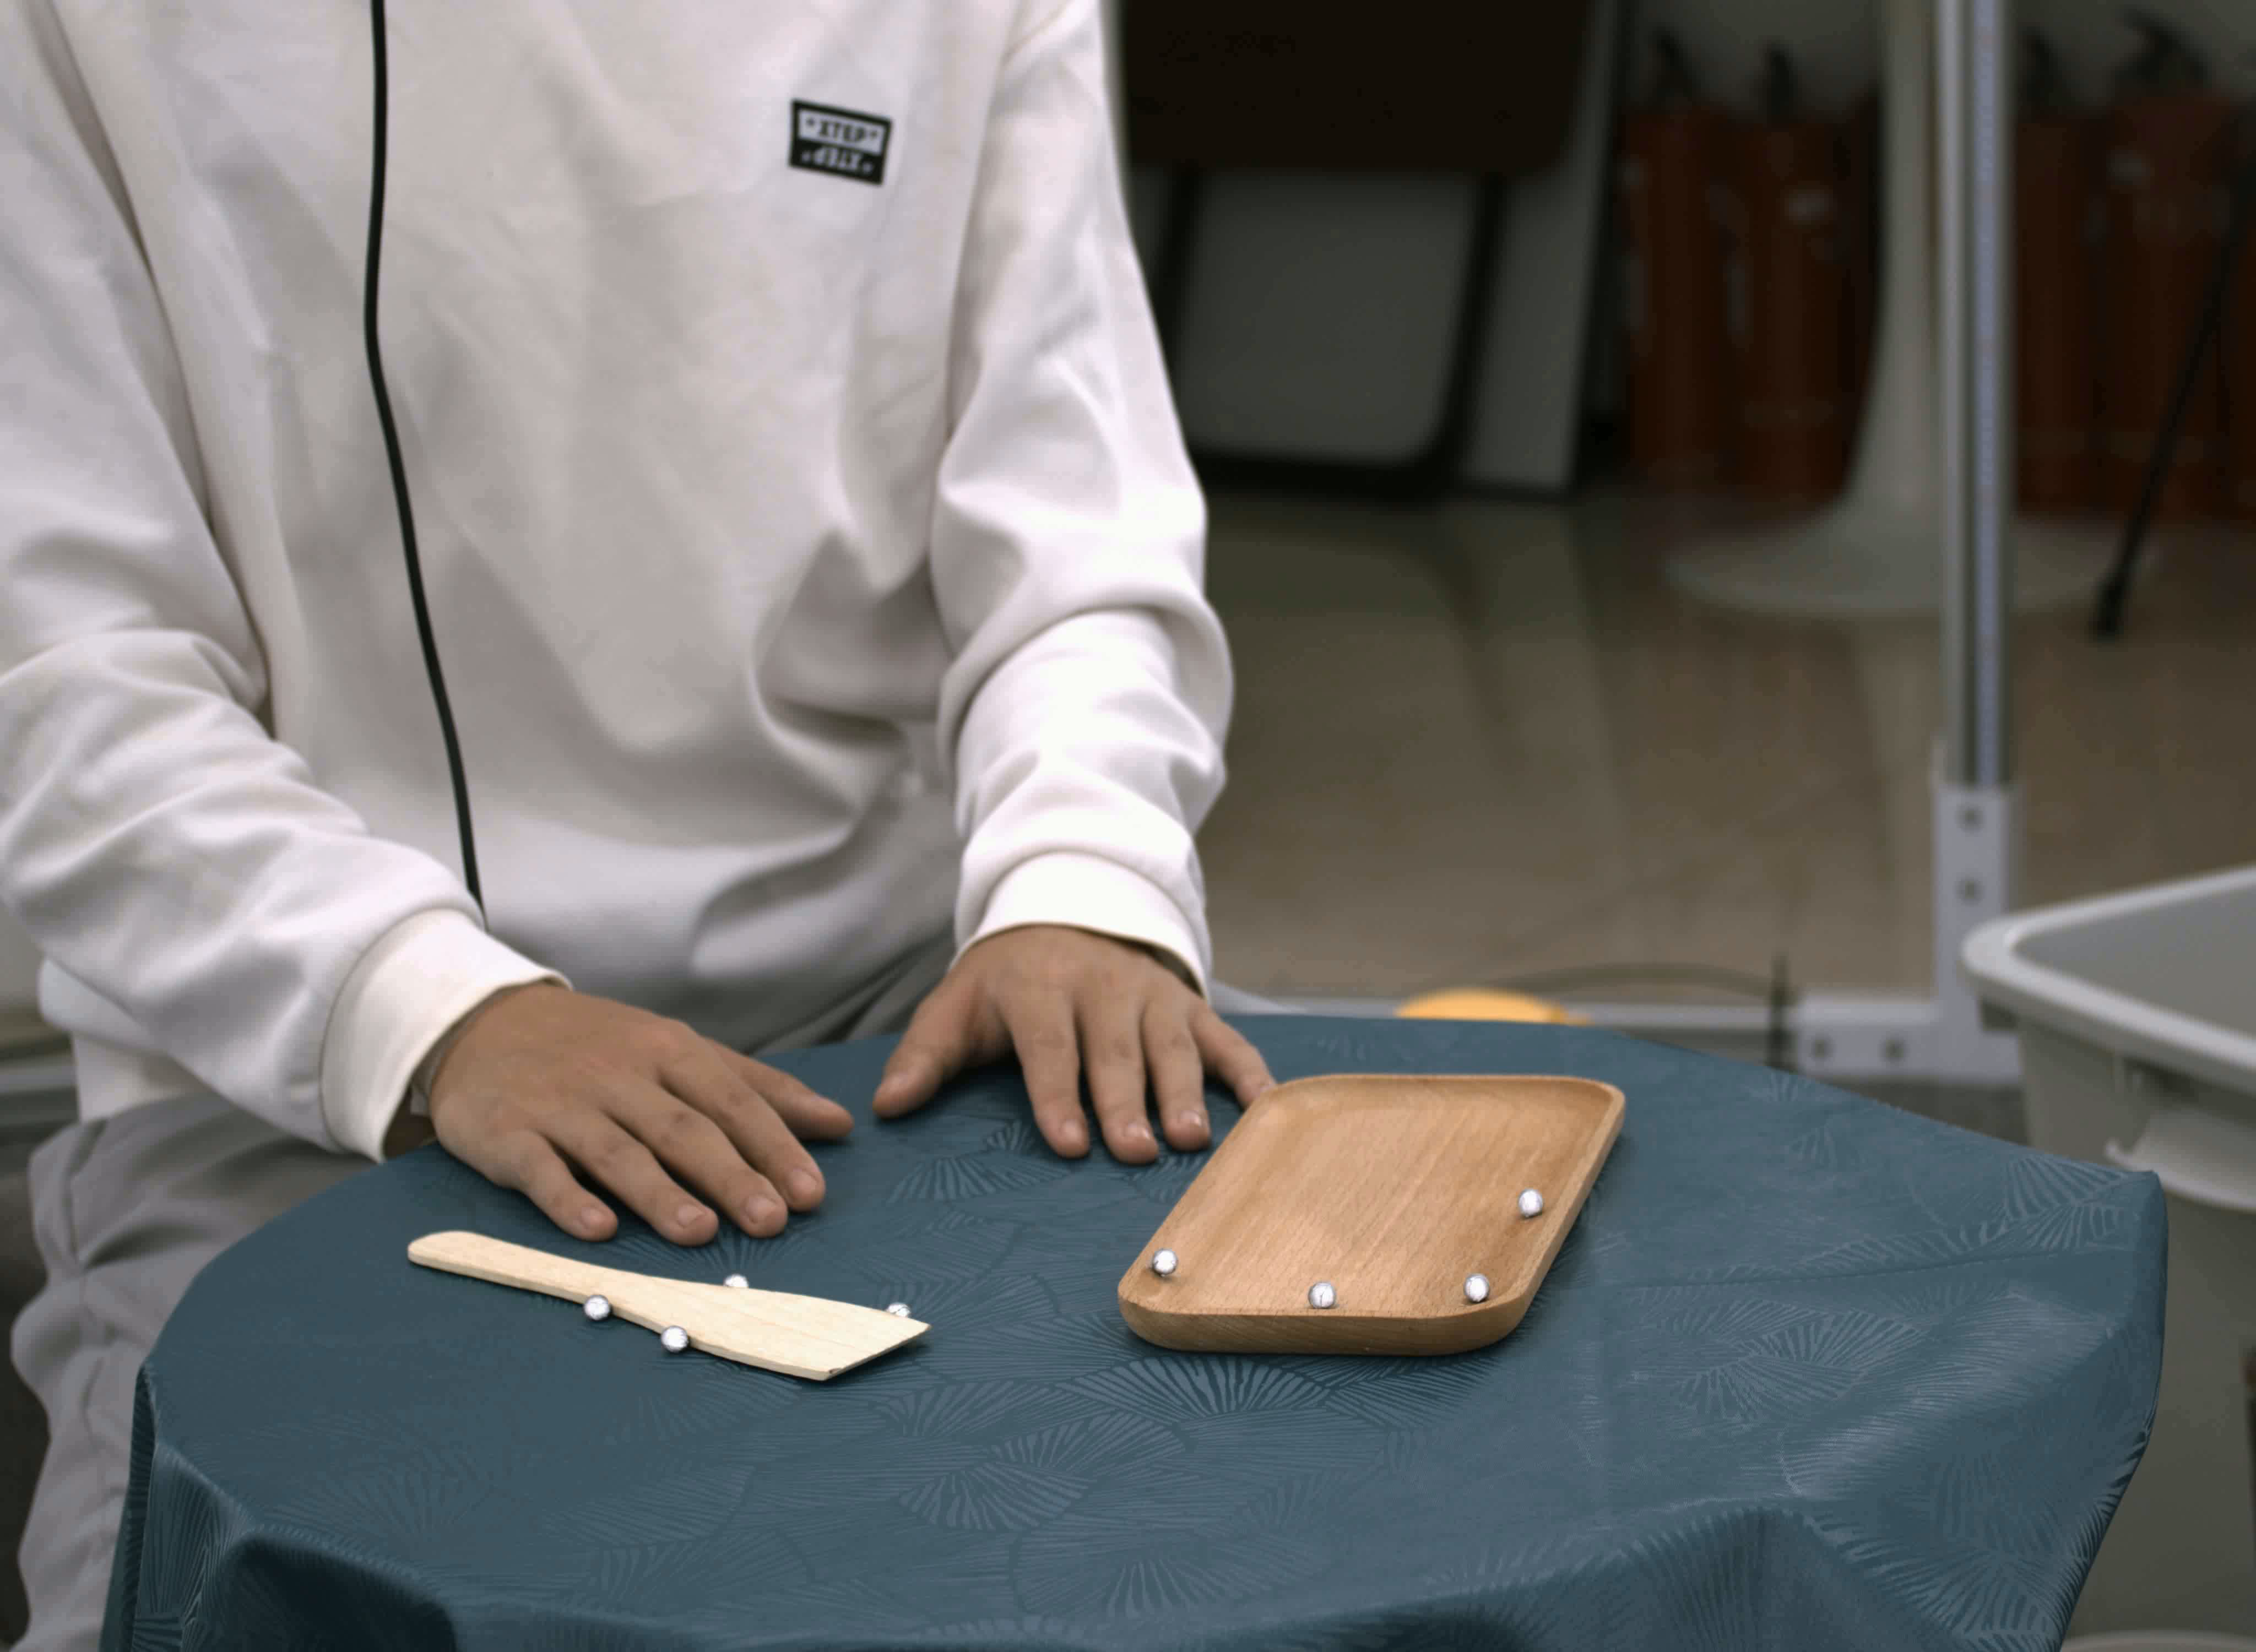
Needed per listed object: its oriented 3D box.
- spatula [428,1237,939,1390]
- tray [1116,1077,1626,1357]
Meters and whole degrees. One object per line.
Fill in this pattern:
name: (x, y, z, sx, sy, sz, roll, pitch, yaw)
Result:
spatula: (-0.146, 0.149, 1.686, 0.209, 0.005, 0.049, 9, 18, 43)
tray: (0.081, 0.122, 1.714, 0.130, 0.023, 0.249, 2, 14, 15)
